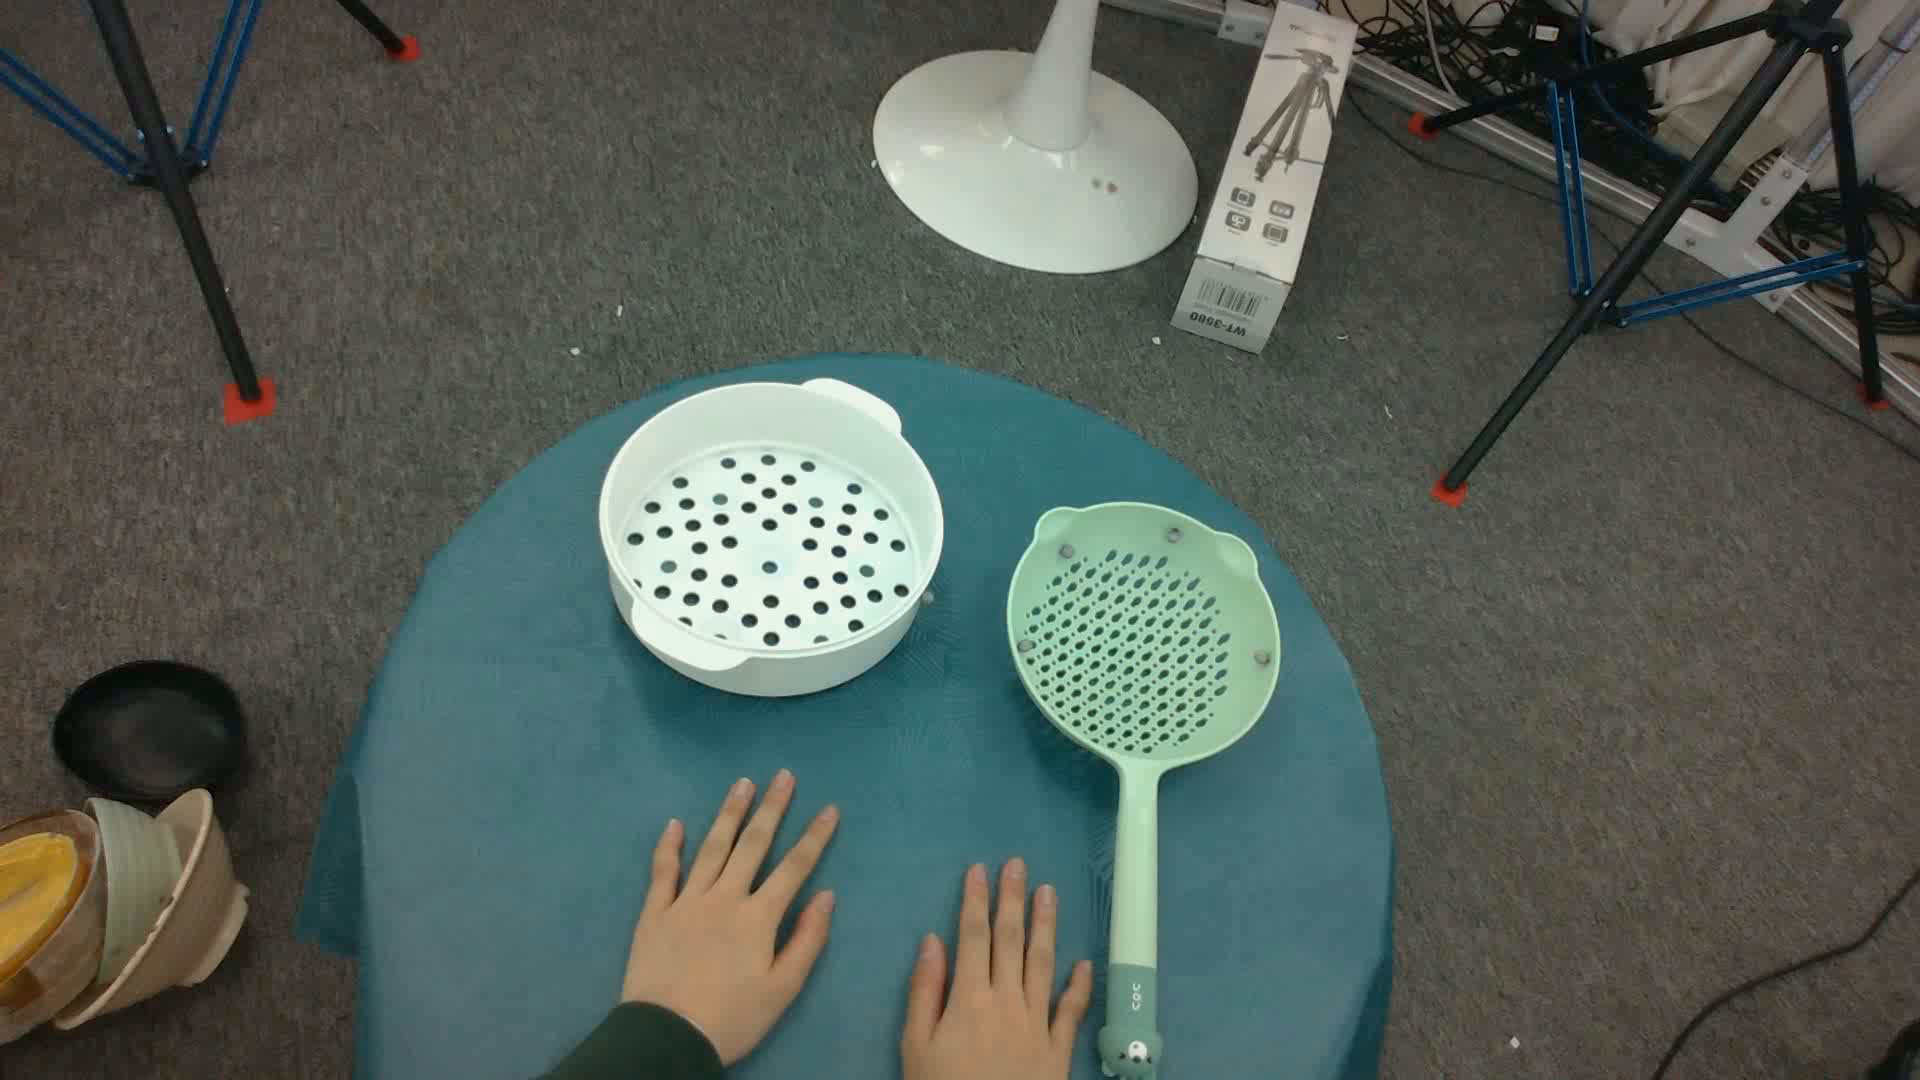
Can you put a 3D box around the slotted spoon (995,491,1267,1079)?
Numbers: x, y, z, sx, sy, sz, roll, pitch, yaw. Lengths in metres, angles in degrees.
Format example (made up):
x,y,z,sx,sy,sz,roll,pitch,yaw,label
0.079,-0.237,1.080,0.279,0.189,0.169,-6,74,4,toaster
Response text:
x,y,z,sx,sy,sz,roll,pitch,yaw,label
0.092,0.136,0.784,0.169,0.075,0.360,9,53,-6,slotted spoon

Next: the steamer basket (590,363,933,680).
x,y,z,sx,sy,sz,roll,pitch,yaw,label
-0.120,-0.010,0.838,0.202,0.069,0.232,24,53,6,steamer basket
